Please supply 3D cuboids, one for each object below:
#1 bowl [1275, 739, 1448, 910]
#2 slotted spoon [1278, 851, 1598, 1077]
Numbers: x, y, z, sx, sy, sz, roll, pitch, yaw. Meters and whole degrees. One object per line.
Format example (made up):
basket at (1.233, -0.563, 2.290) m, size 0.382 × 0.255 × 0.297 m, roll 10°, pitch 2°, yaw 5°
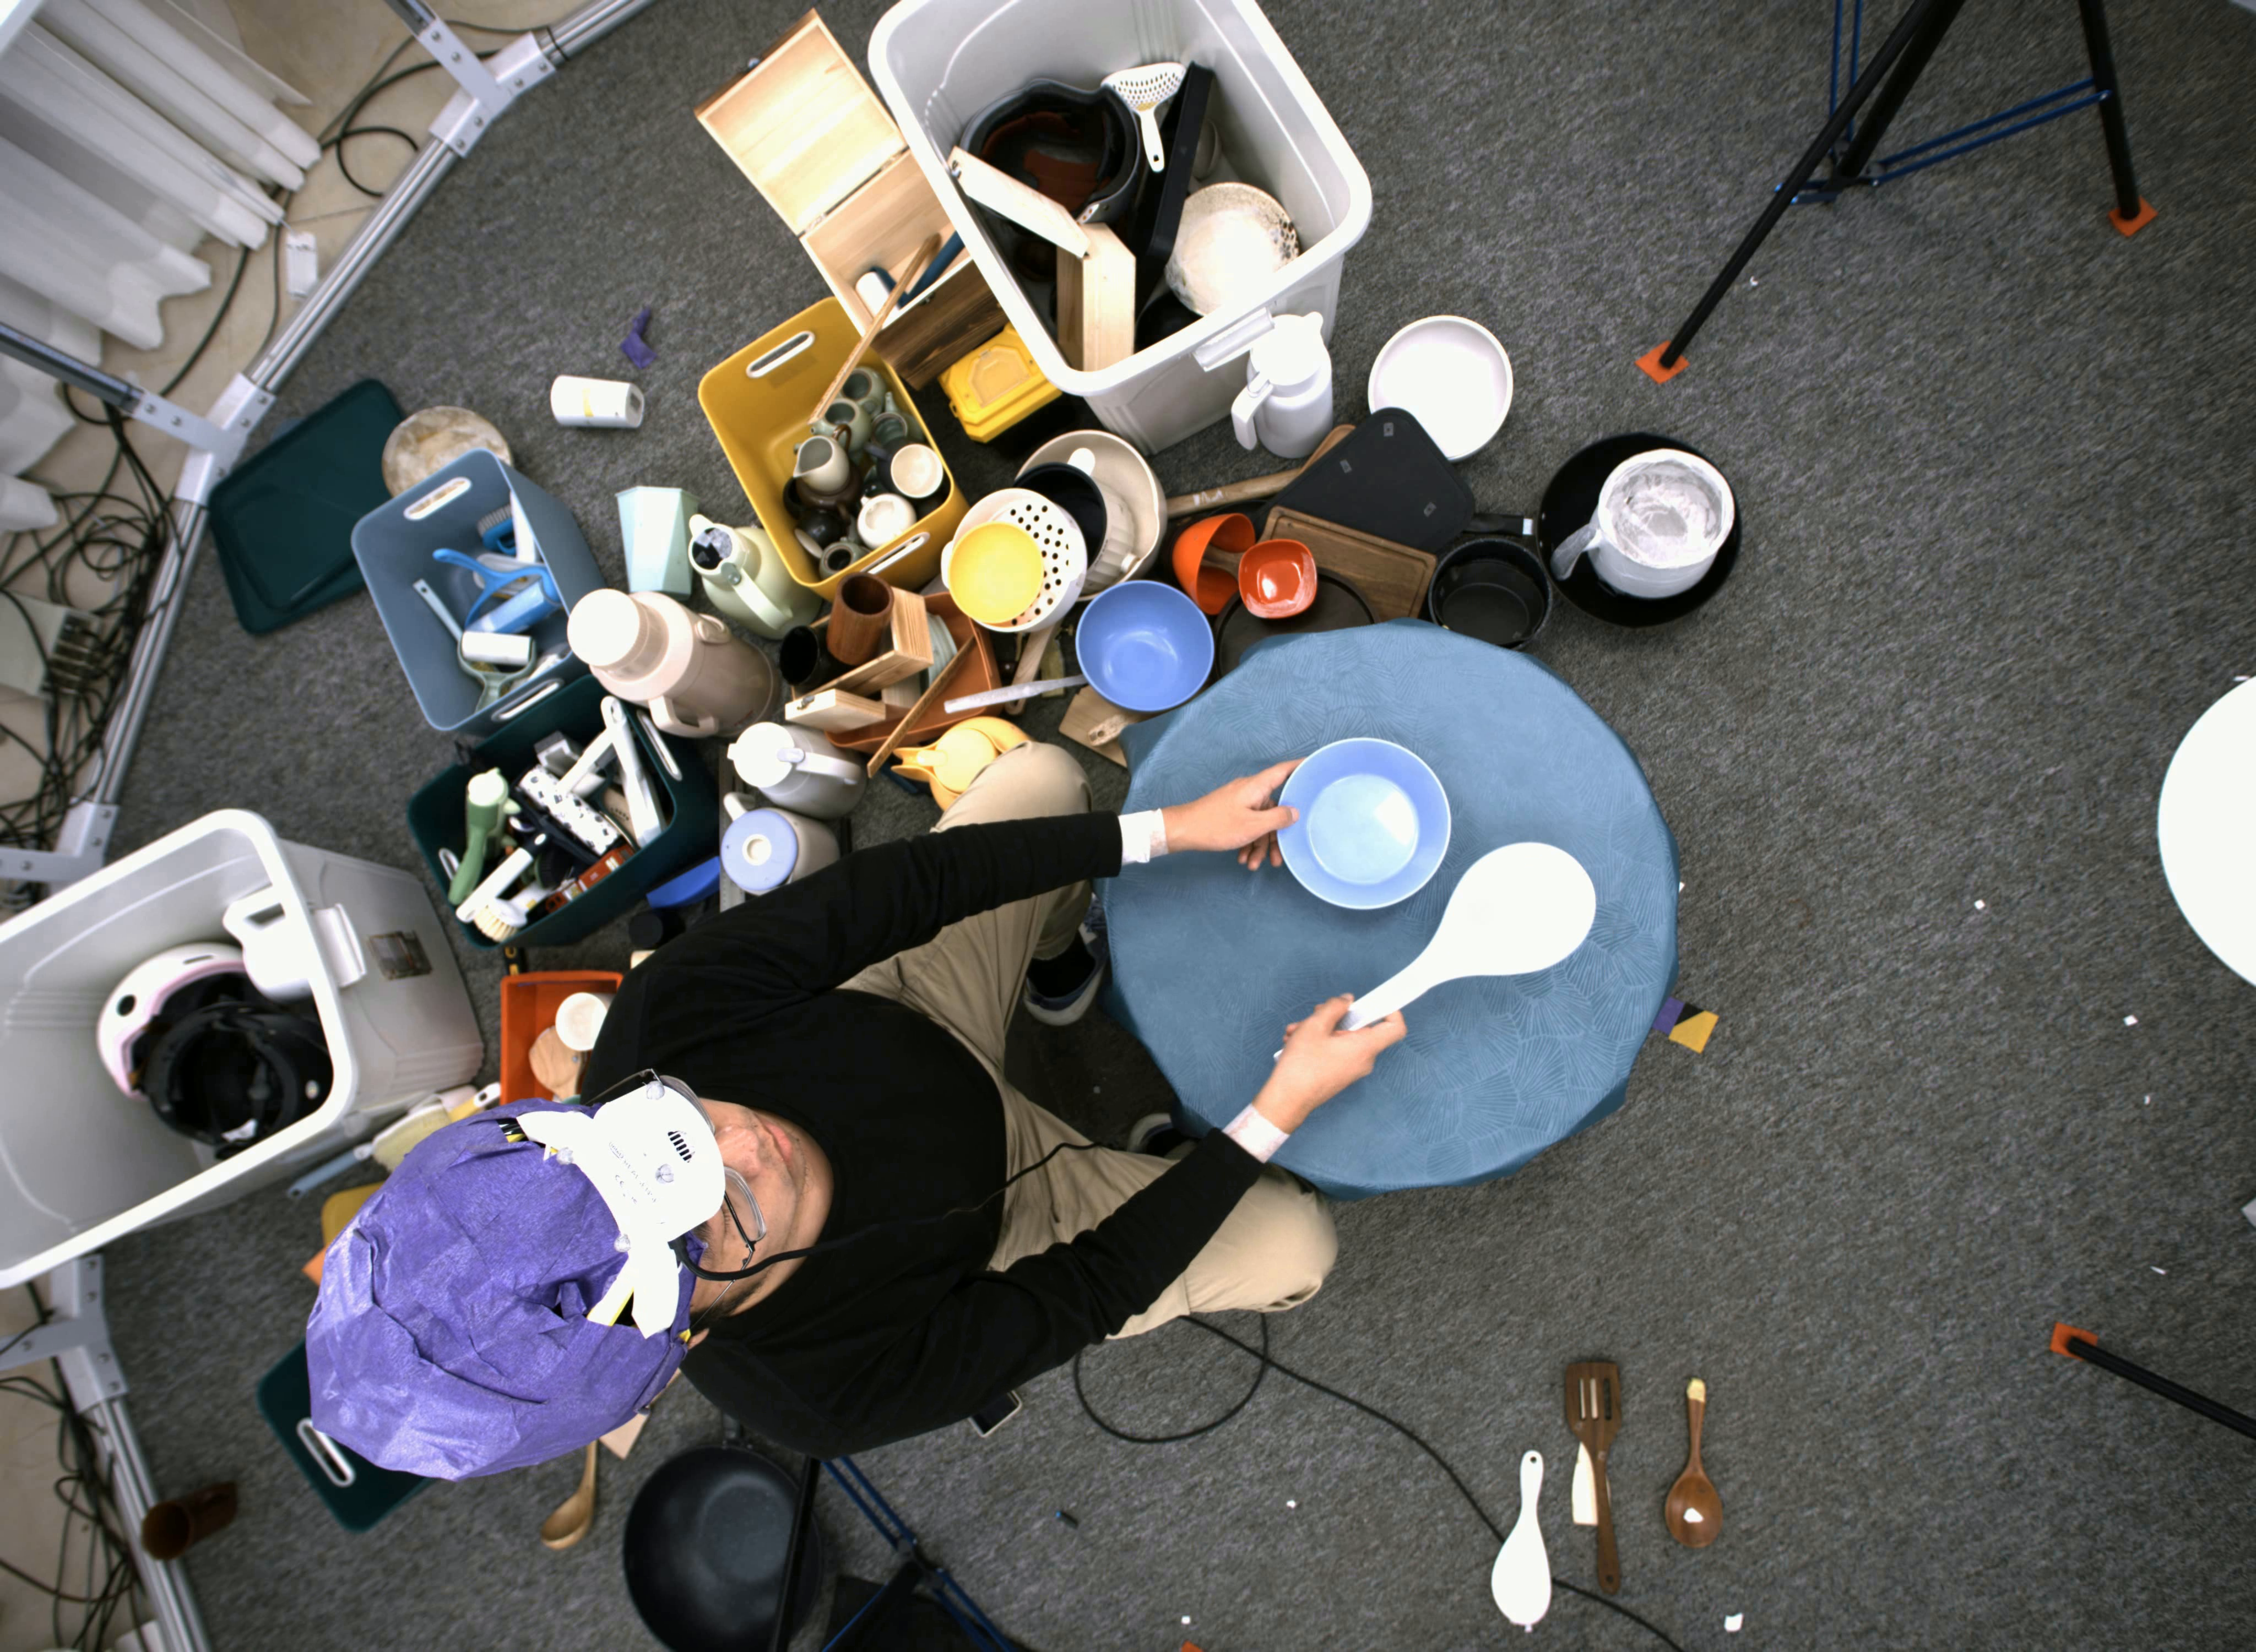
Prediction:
bowl at (0.243, -0.001, 1.434) m, size 0.177 × 0.070 × 0.175 m, roll -1°, pitch 87°, yaw 11°
slotted spoon at (0.299, 0.144, 1.352) m, size 0.351 × 0.046 × 0.133 m, roll -31°, pitch 51°, yaw 4°
